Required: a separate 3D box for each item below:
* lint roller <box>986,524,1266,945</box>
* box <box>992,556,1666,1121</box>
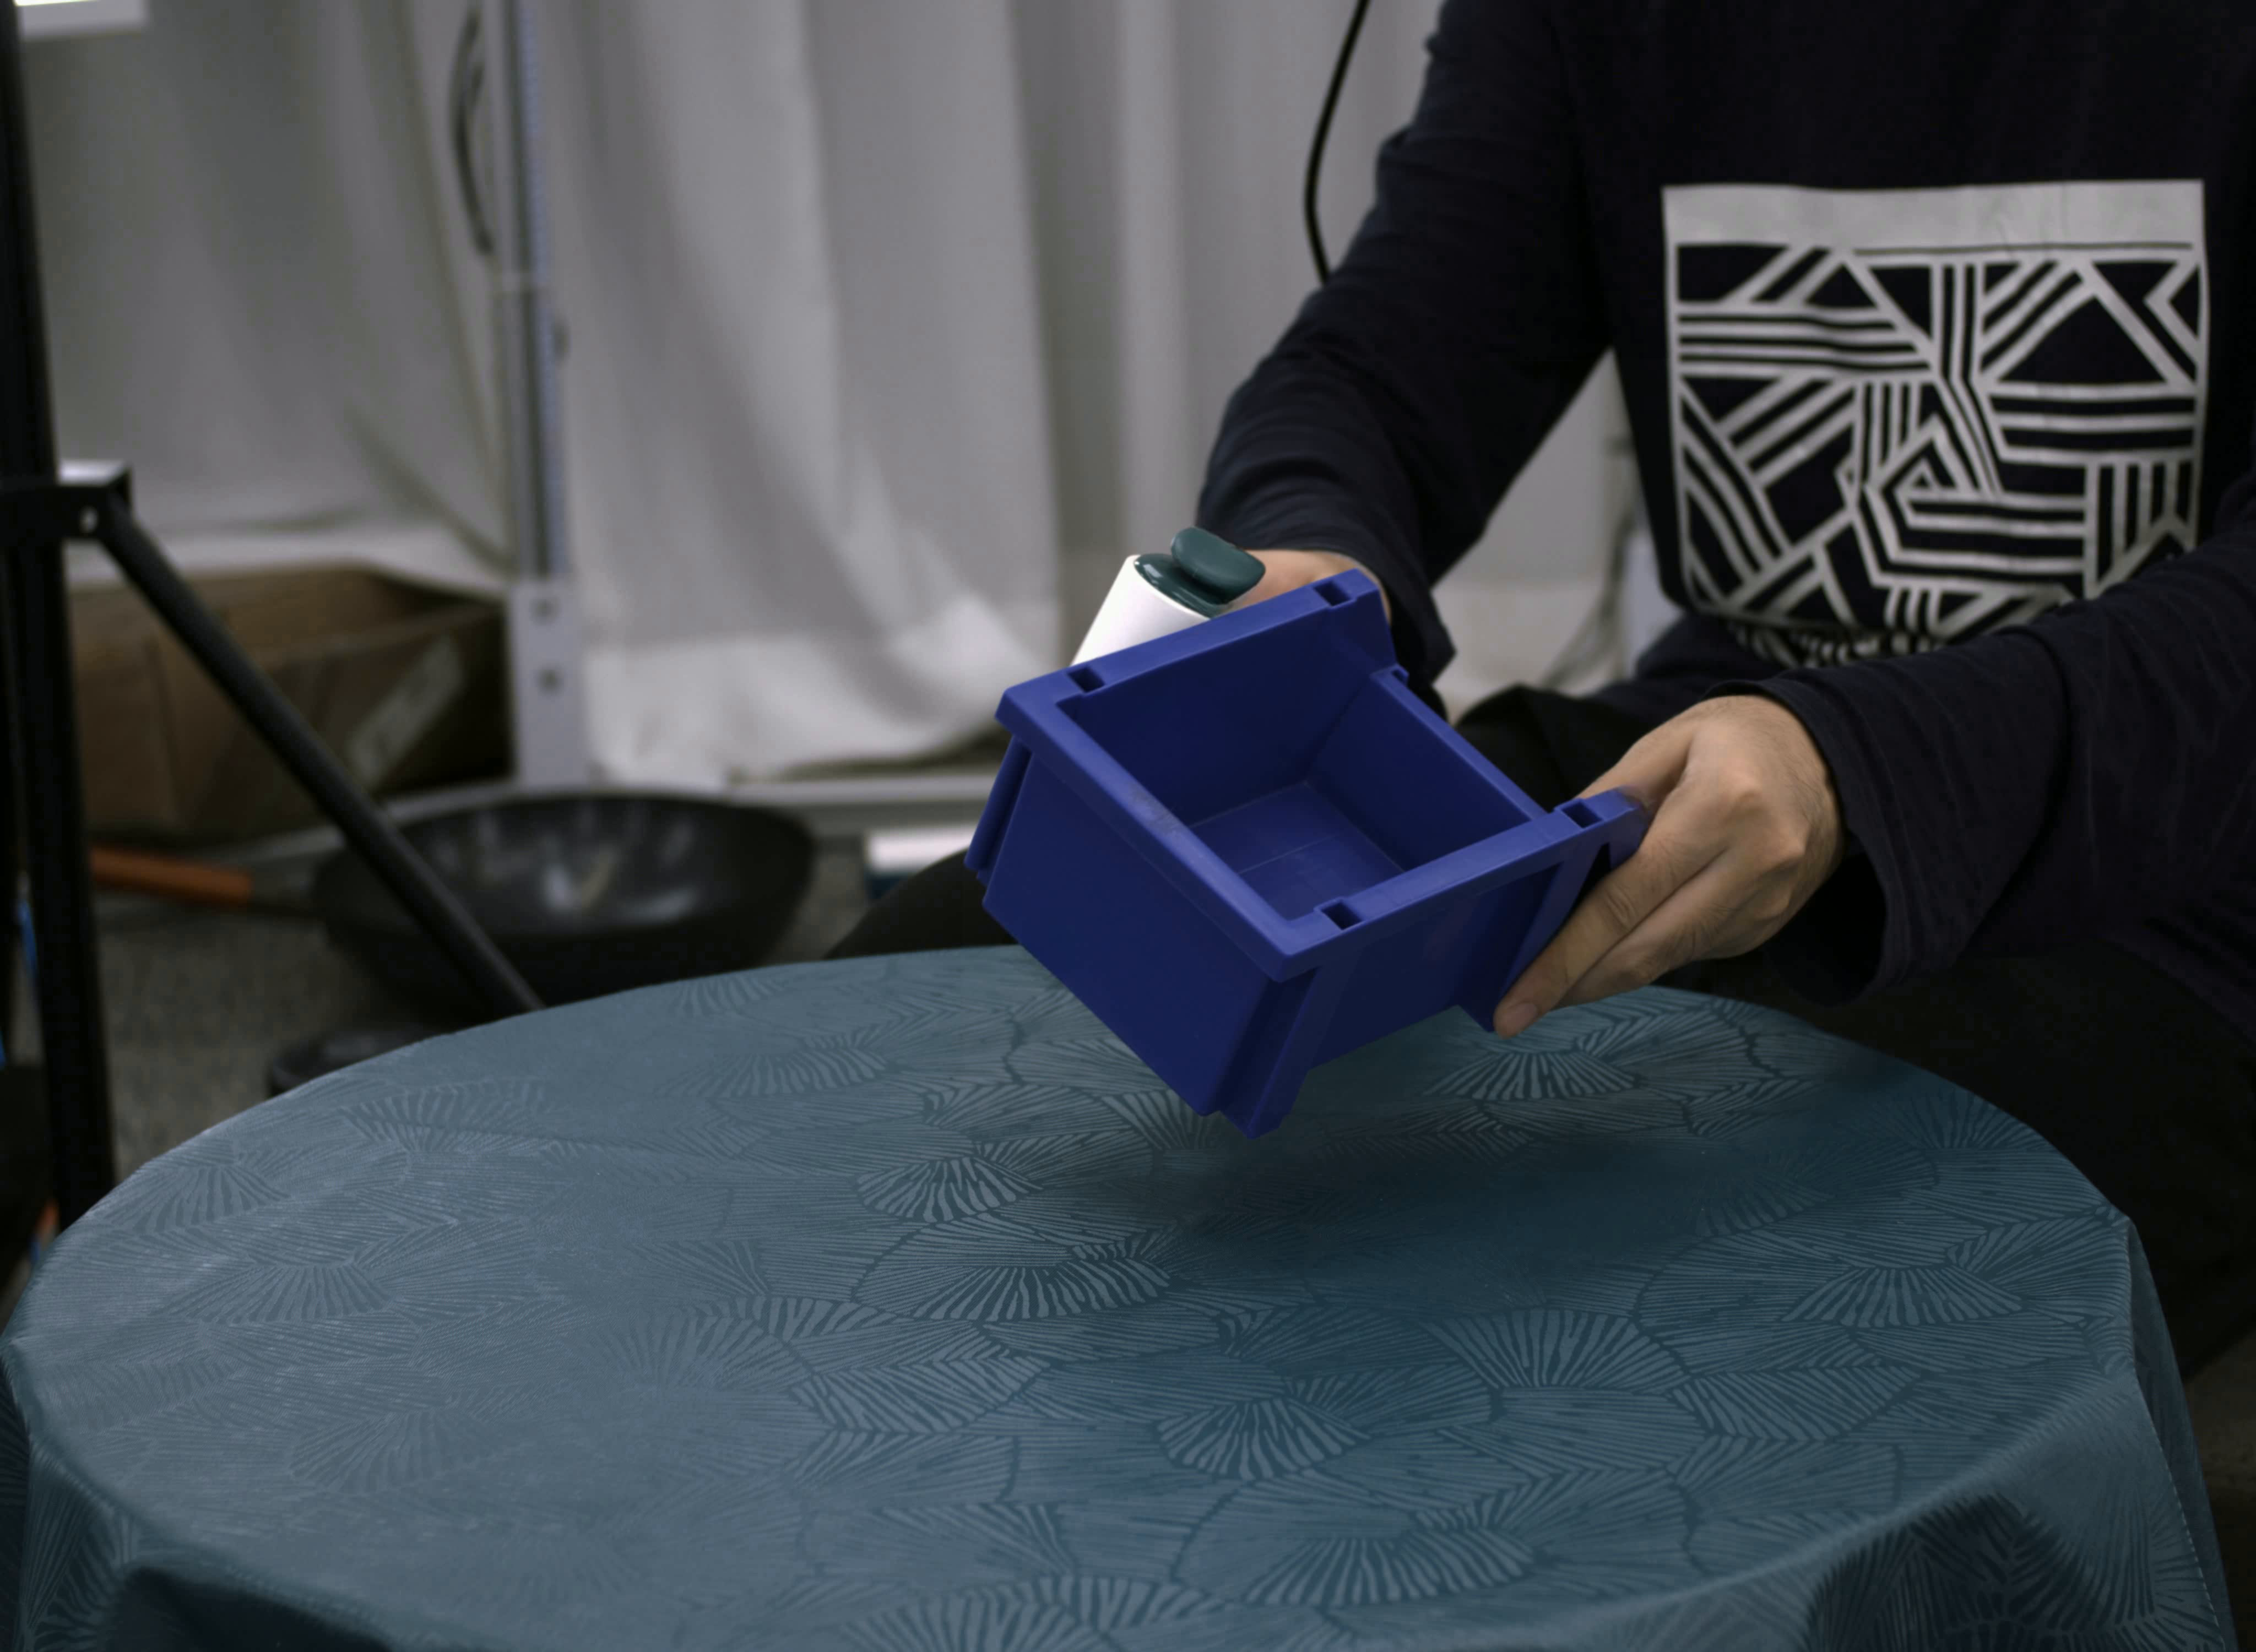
[{"bbox_3d":[0.017,-0.037,1.654,0.048,0.135,0.178,29,16,8],"label":"lint roller"},{"bbox_3d":[0.059,-0.001,1.546,0.175,0.082,0.127,-21,52,-38],"label":"box"}]
